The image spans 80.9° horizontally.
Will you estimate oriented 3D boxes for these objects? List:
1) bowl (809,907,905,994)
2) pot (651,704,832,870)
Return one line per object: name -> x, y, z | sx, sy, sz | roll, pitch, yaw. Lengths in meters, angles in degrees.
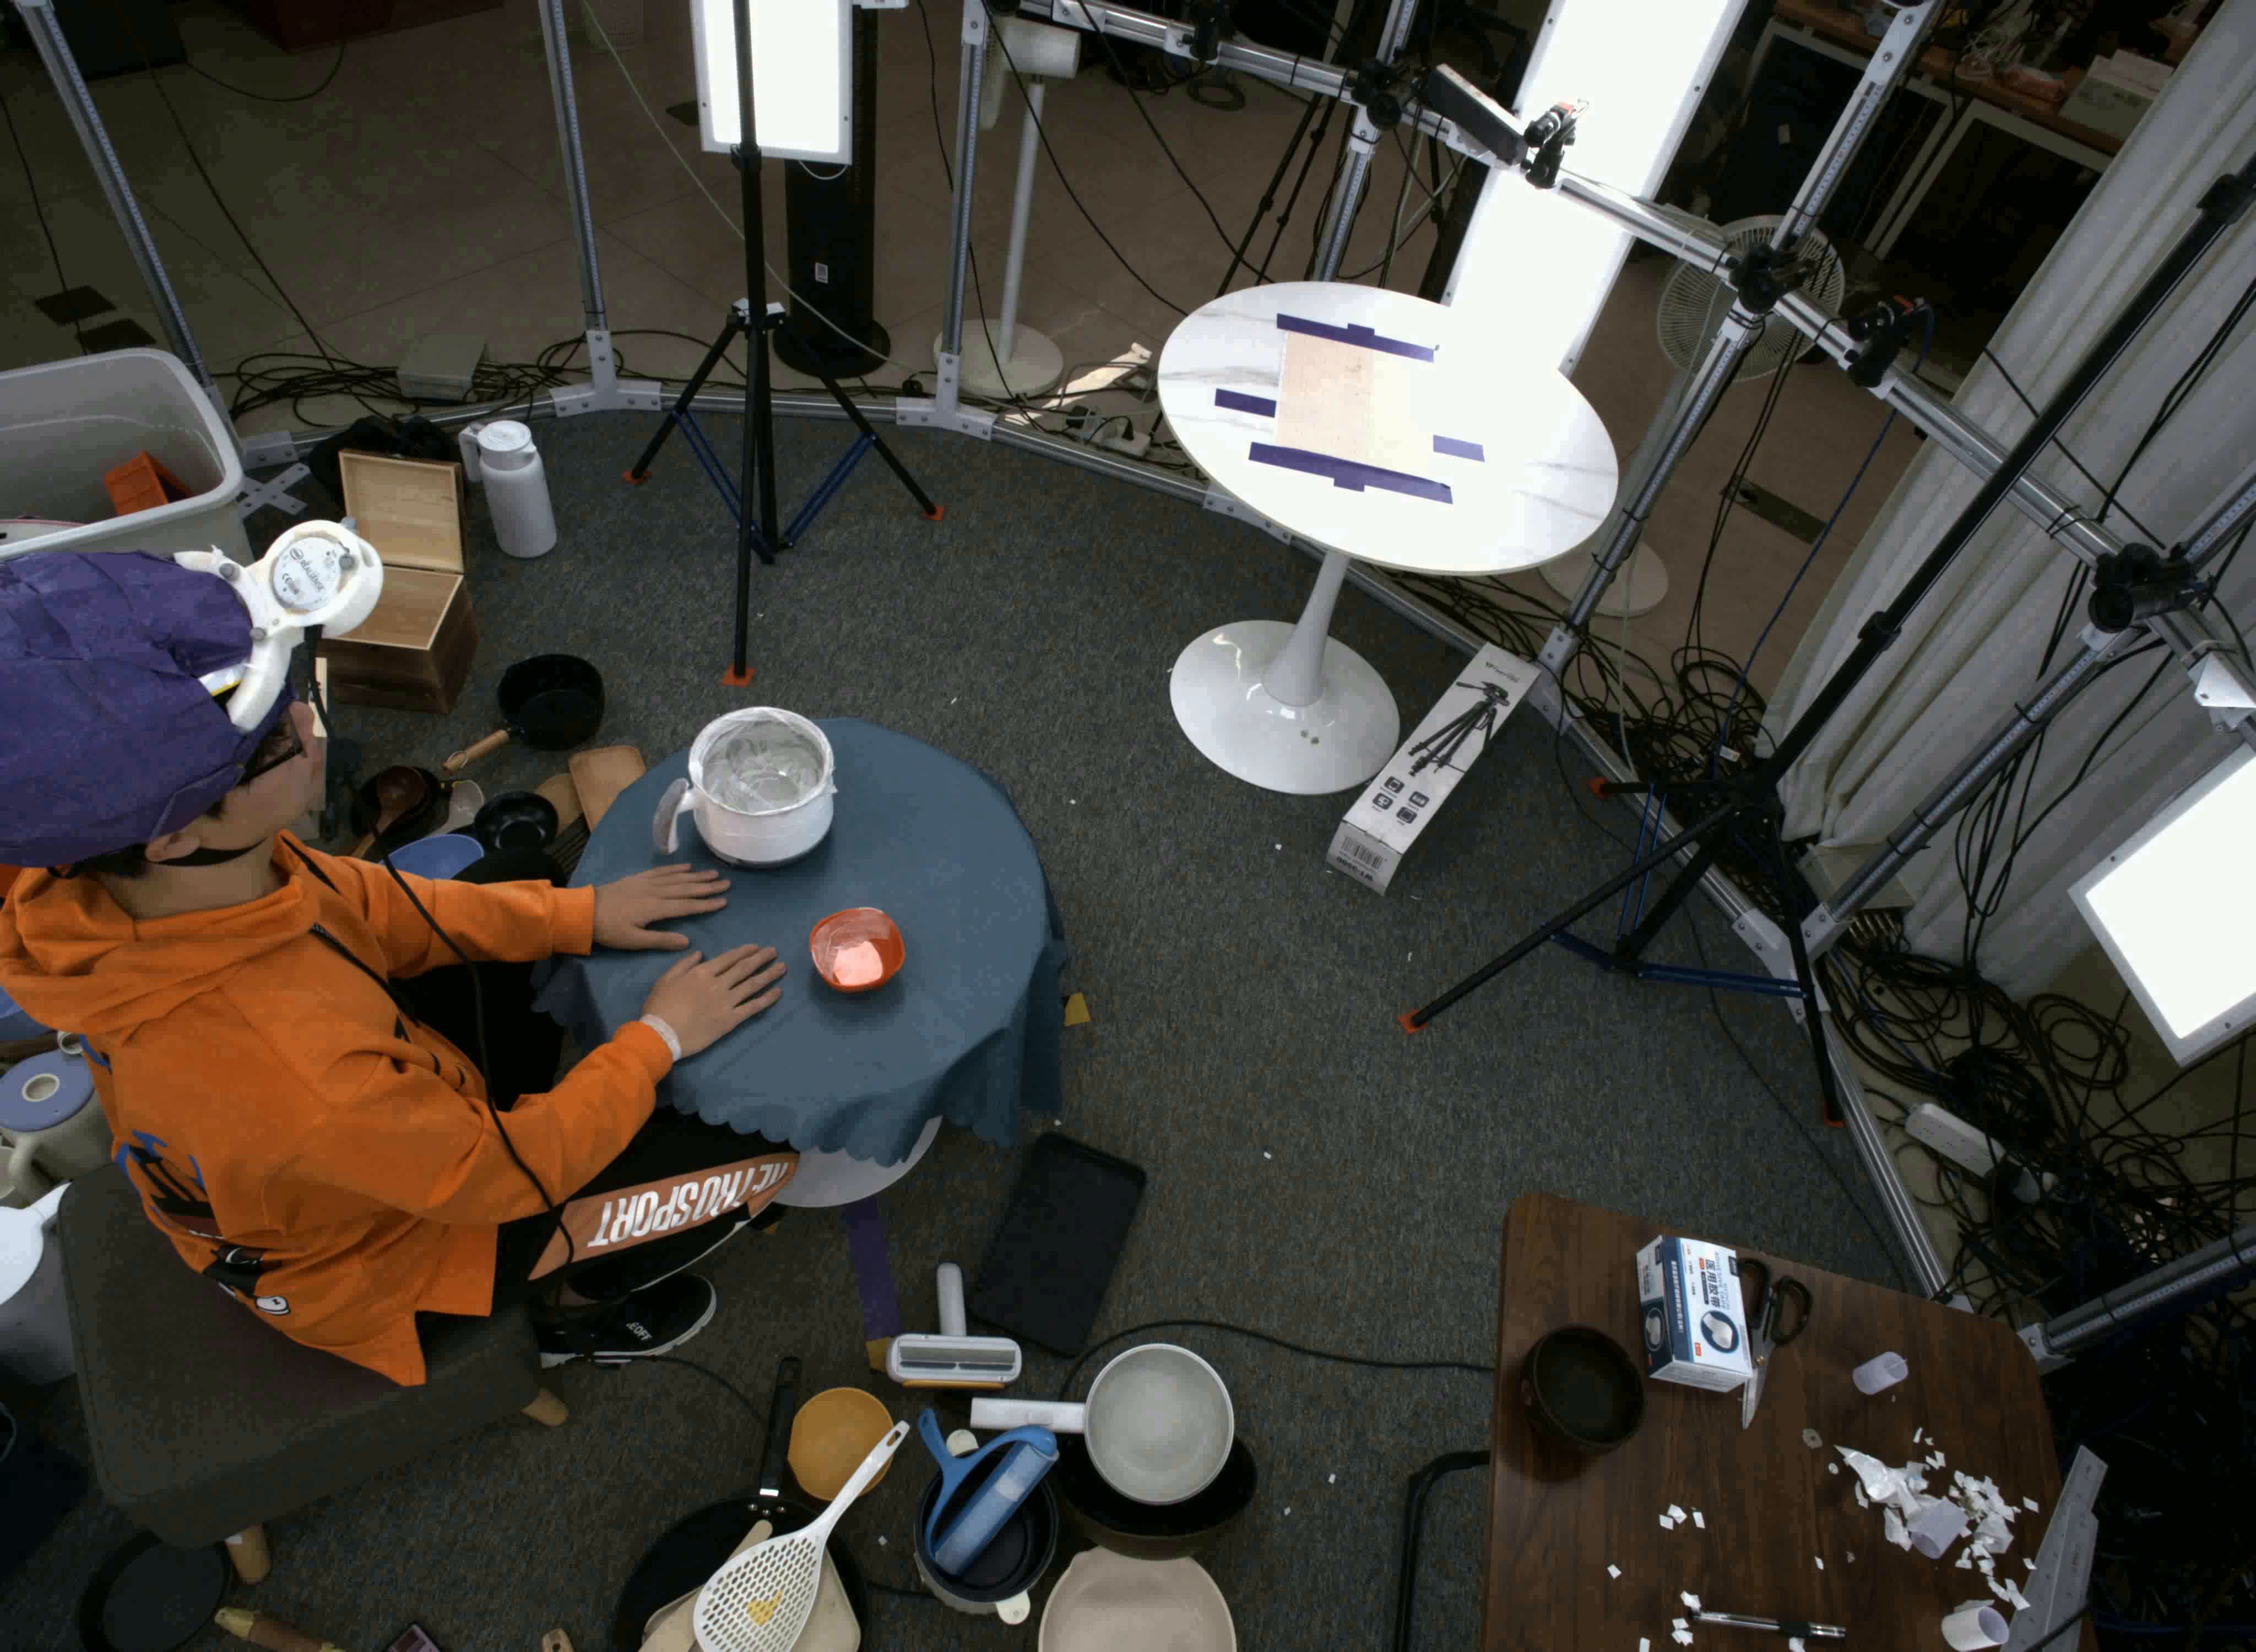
bowl -> -0.332, 0.159, 1.586 | 0.119, 0.052, 0.117 | 9, 52, -10
pot -> -0.491, -0.037, 1.635 | 0.235, 0.139, 0.174 | -22, 60, -28
